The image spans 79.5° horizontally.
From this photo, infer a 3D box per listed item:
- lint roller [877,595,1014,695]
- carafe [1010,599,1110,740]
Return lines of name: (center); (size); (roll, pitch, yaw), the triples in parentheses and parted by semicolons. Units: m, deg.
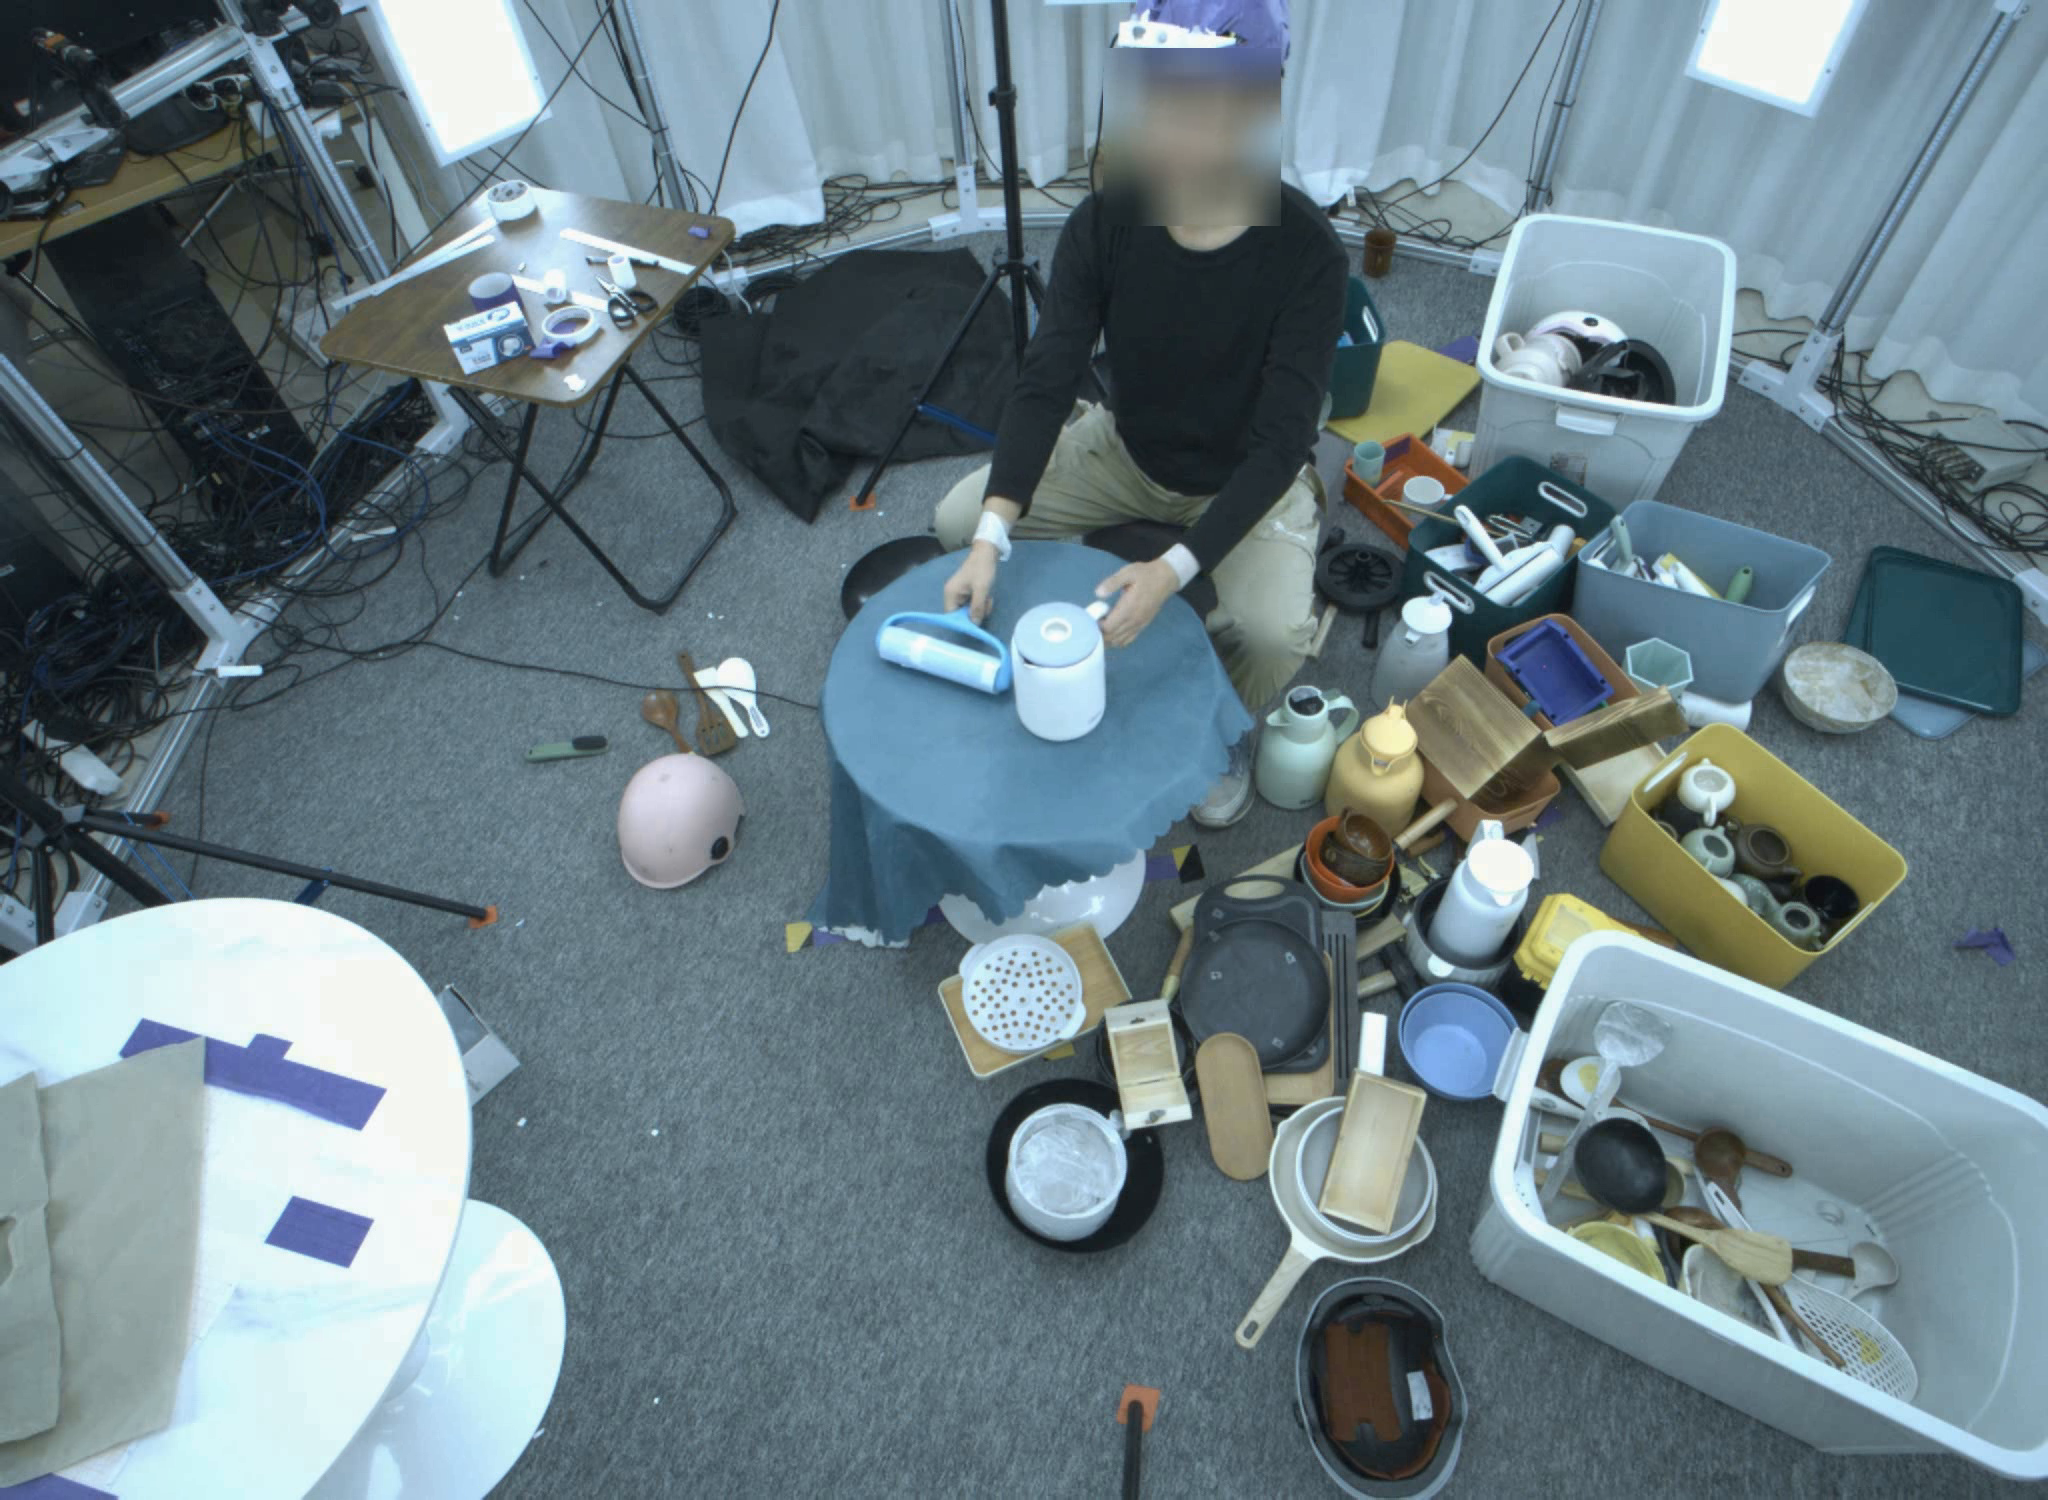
lint roller: (-0.099, -0.185, 1.884); (0.226, 0.069, 0.180); (16, 63, 17)
carafe: (0.064, -0.128, 1.770); (0.130, 0.184, 0.192); (32, 60, 23)
